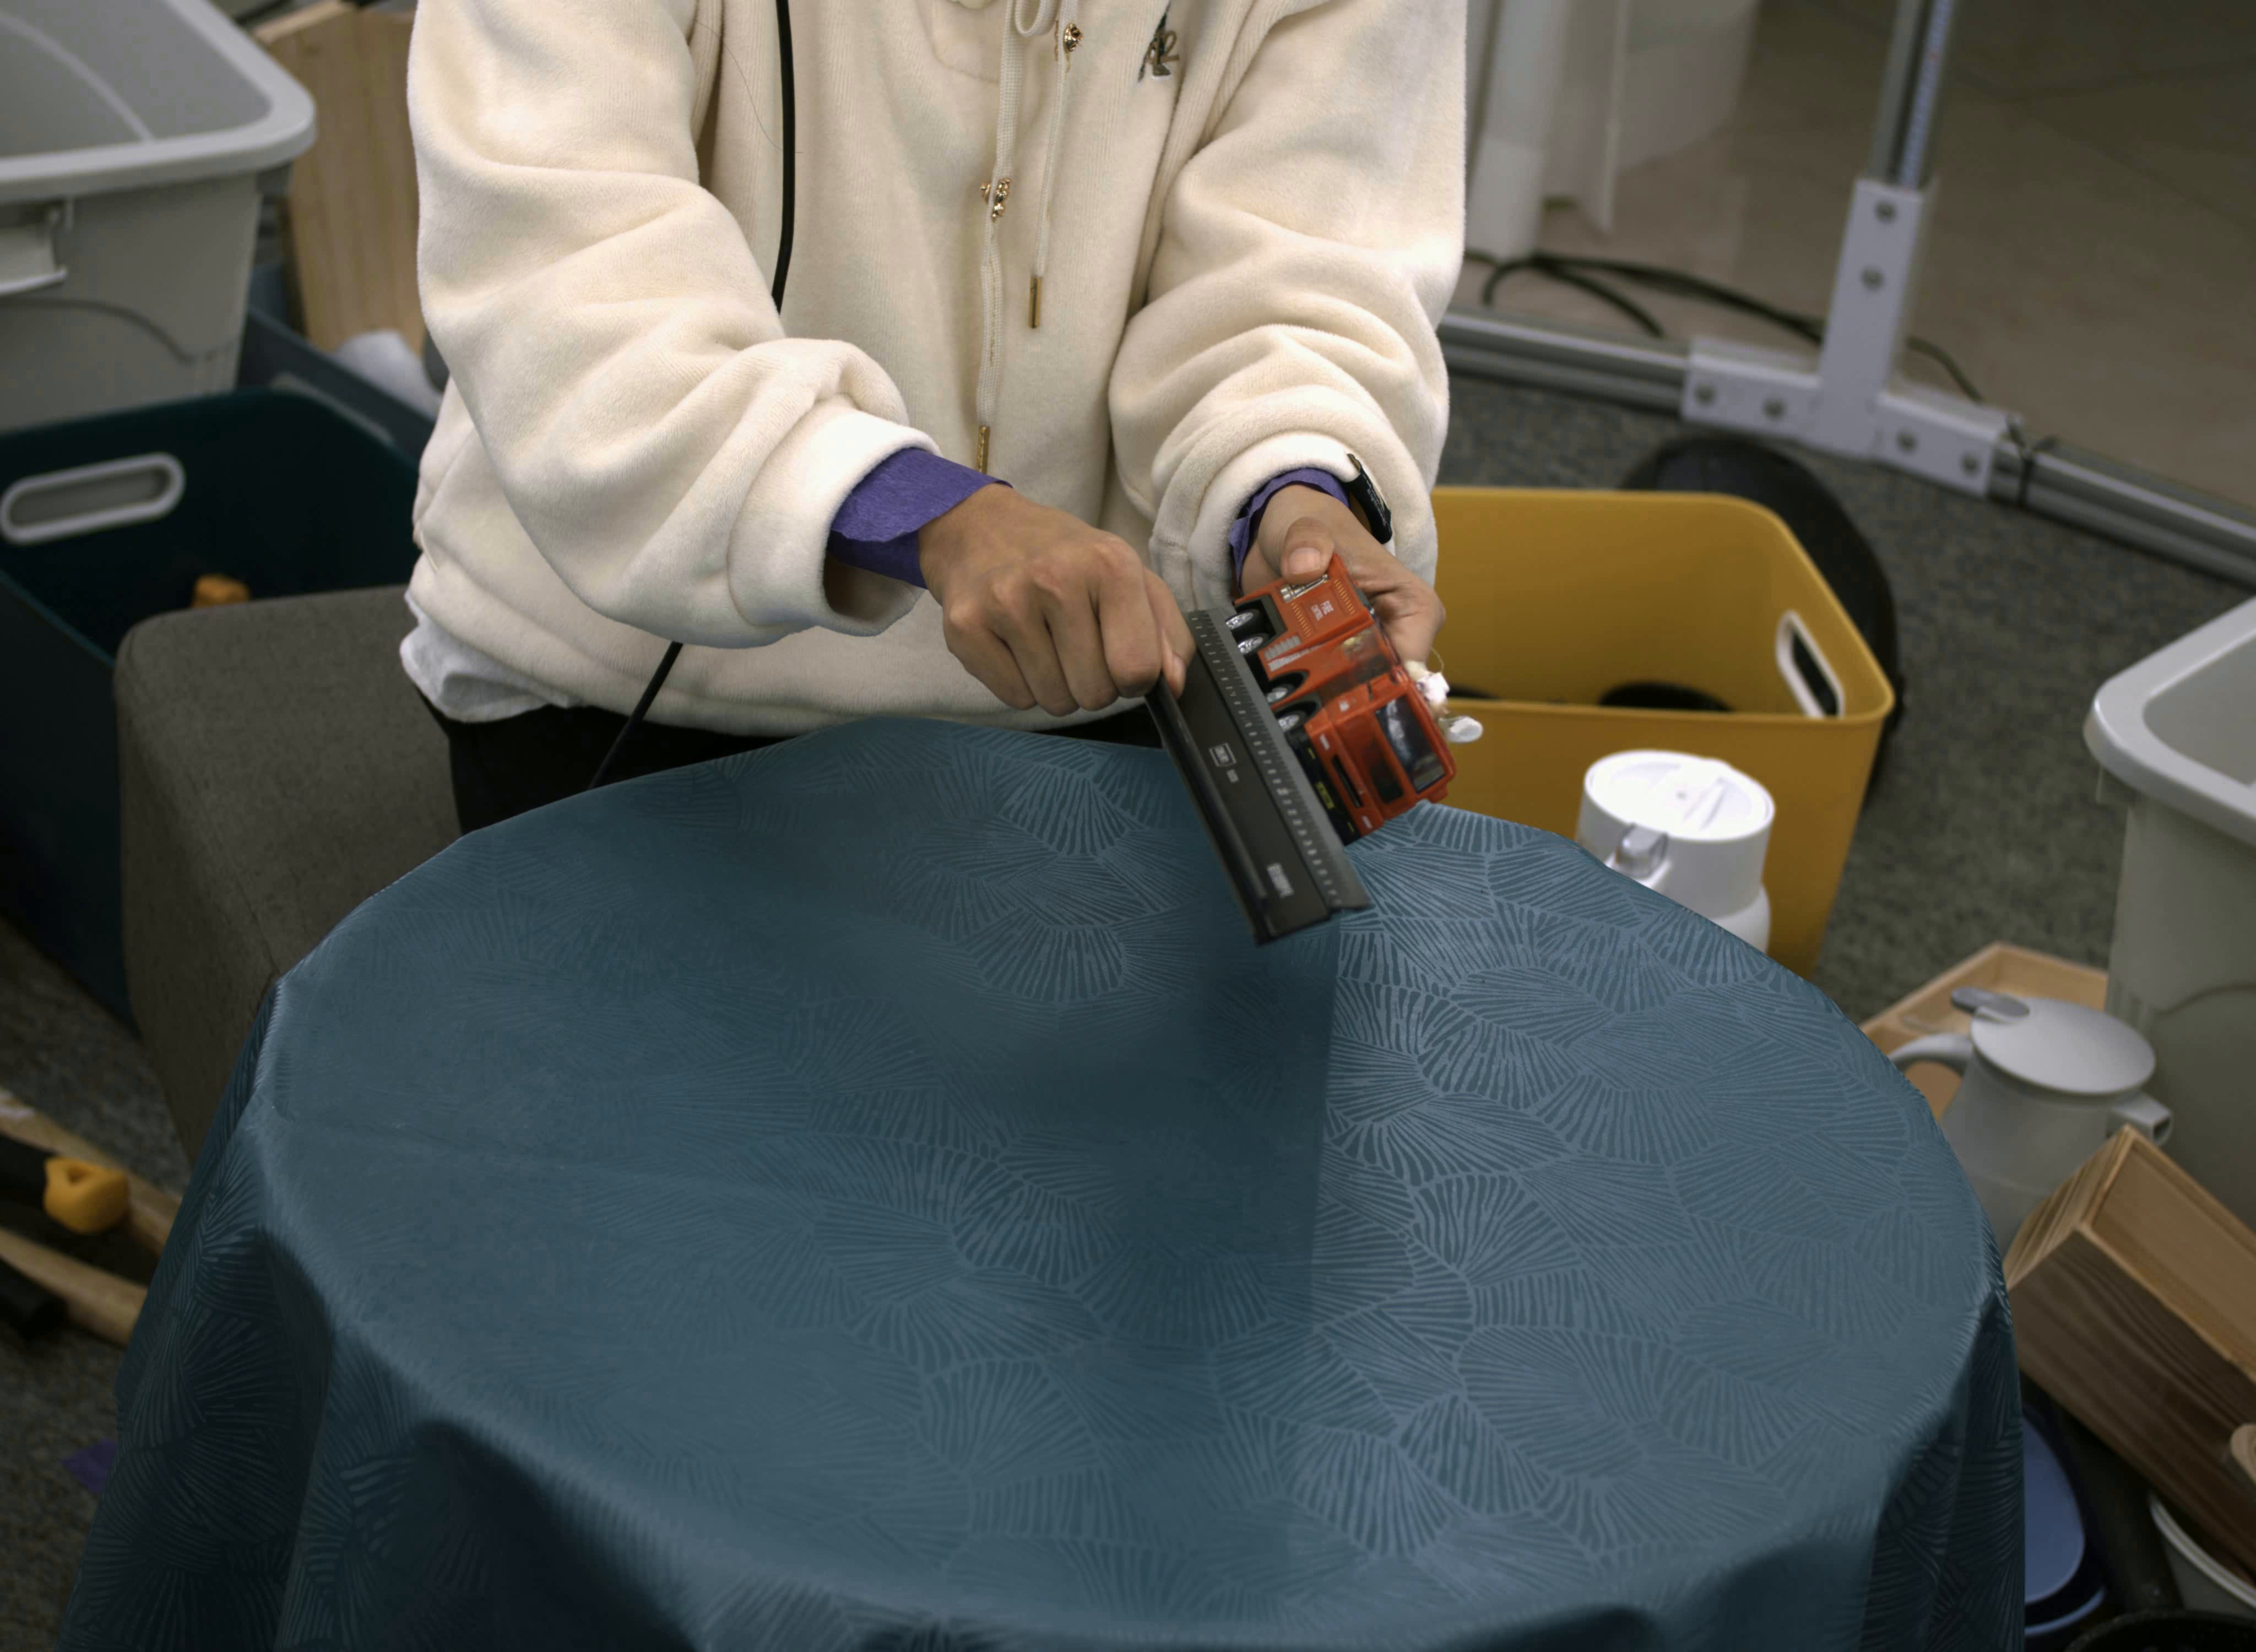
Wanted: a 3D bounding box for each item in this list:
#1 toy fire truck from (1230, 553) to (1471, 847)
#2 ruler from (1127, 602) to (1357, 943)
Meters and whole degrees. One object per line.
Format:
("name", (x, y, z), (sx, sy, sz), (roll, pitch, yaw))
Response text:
("toy fire truck", (0.073, -0.044, 1.848), (0.070, 0.054, 0.169), (-29, 19, 2))
("ruler", (0.034, -0.027, 1.767), (0.039, 0.017, 0.314), (-17, 20, -1))
